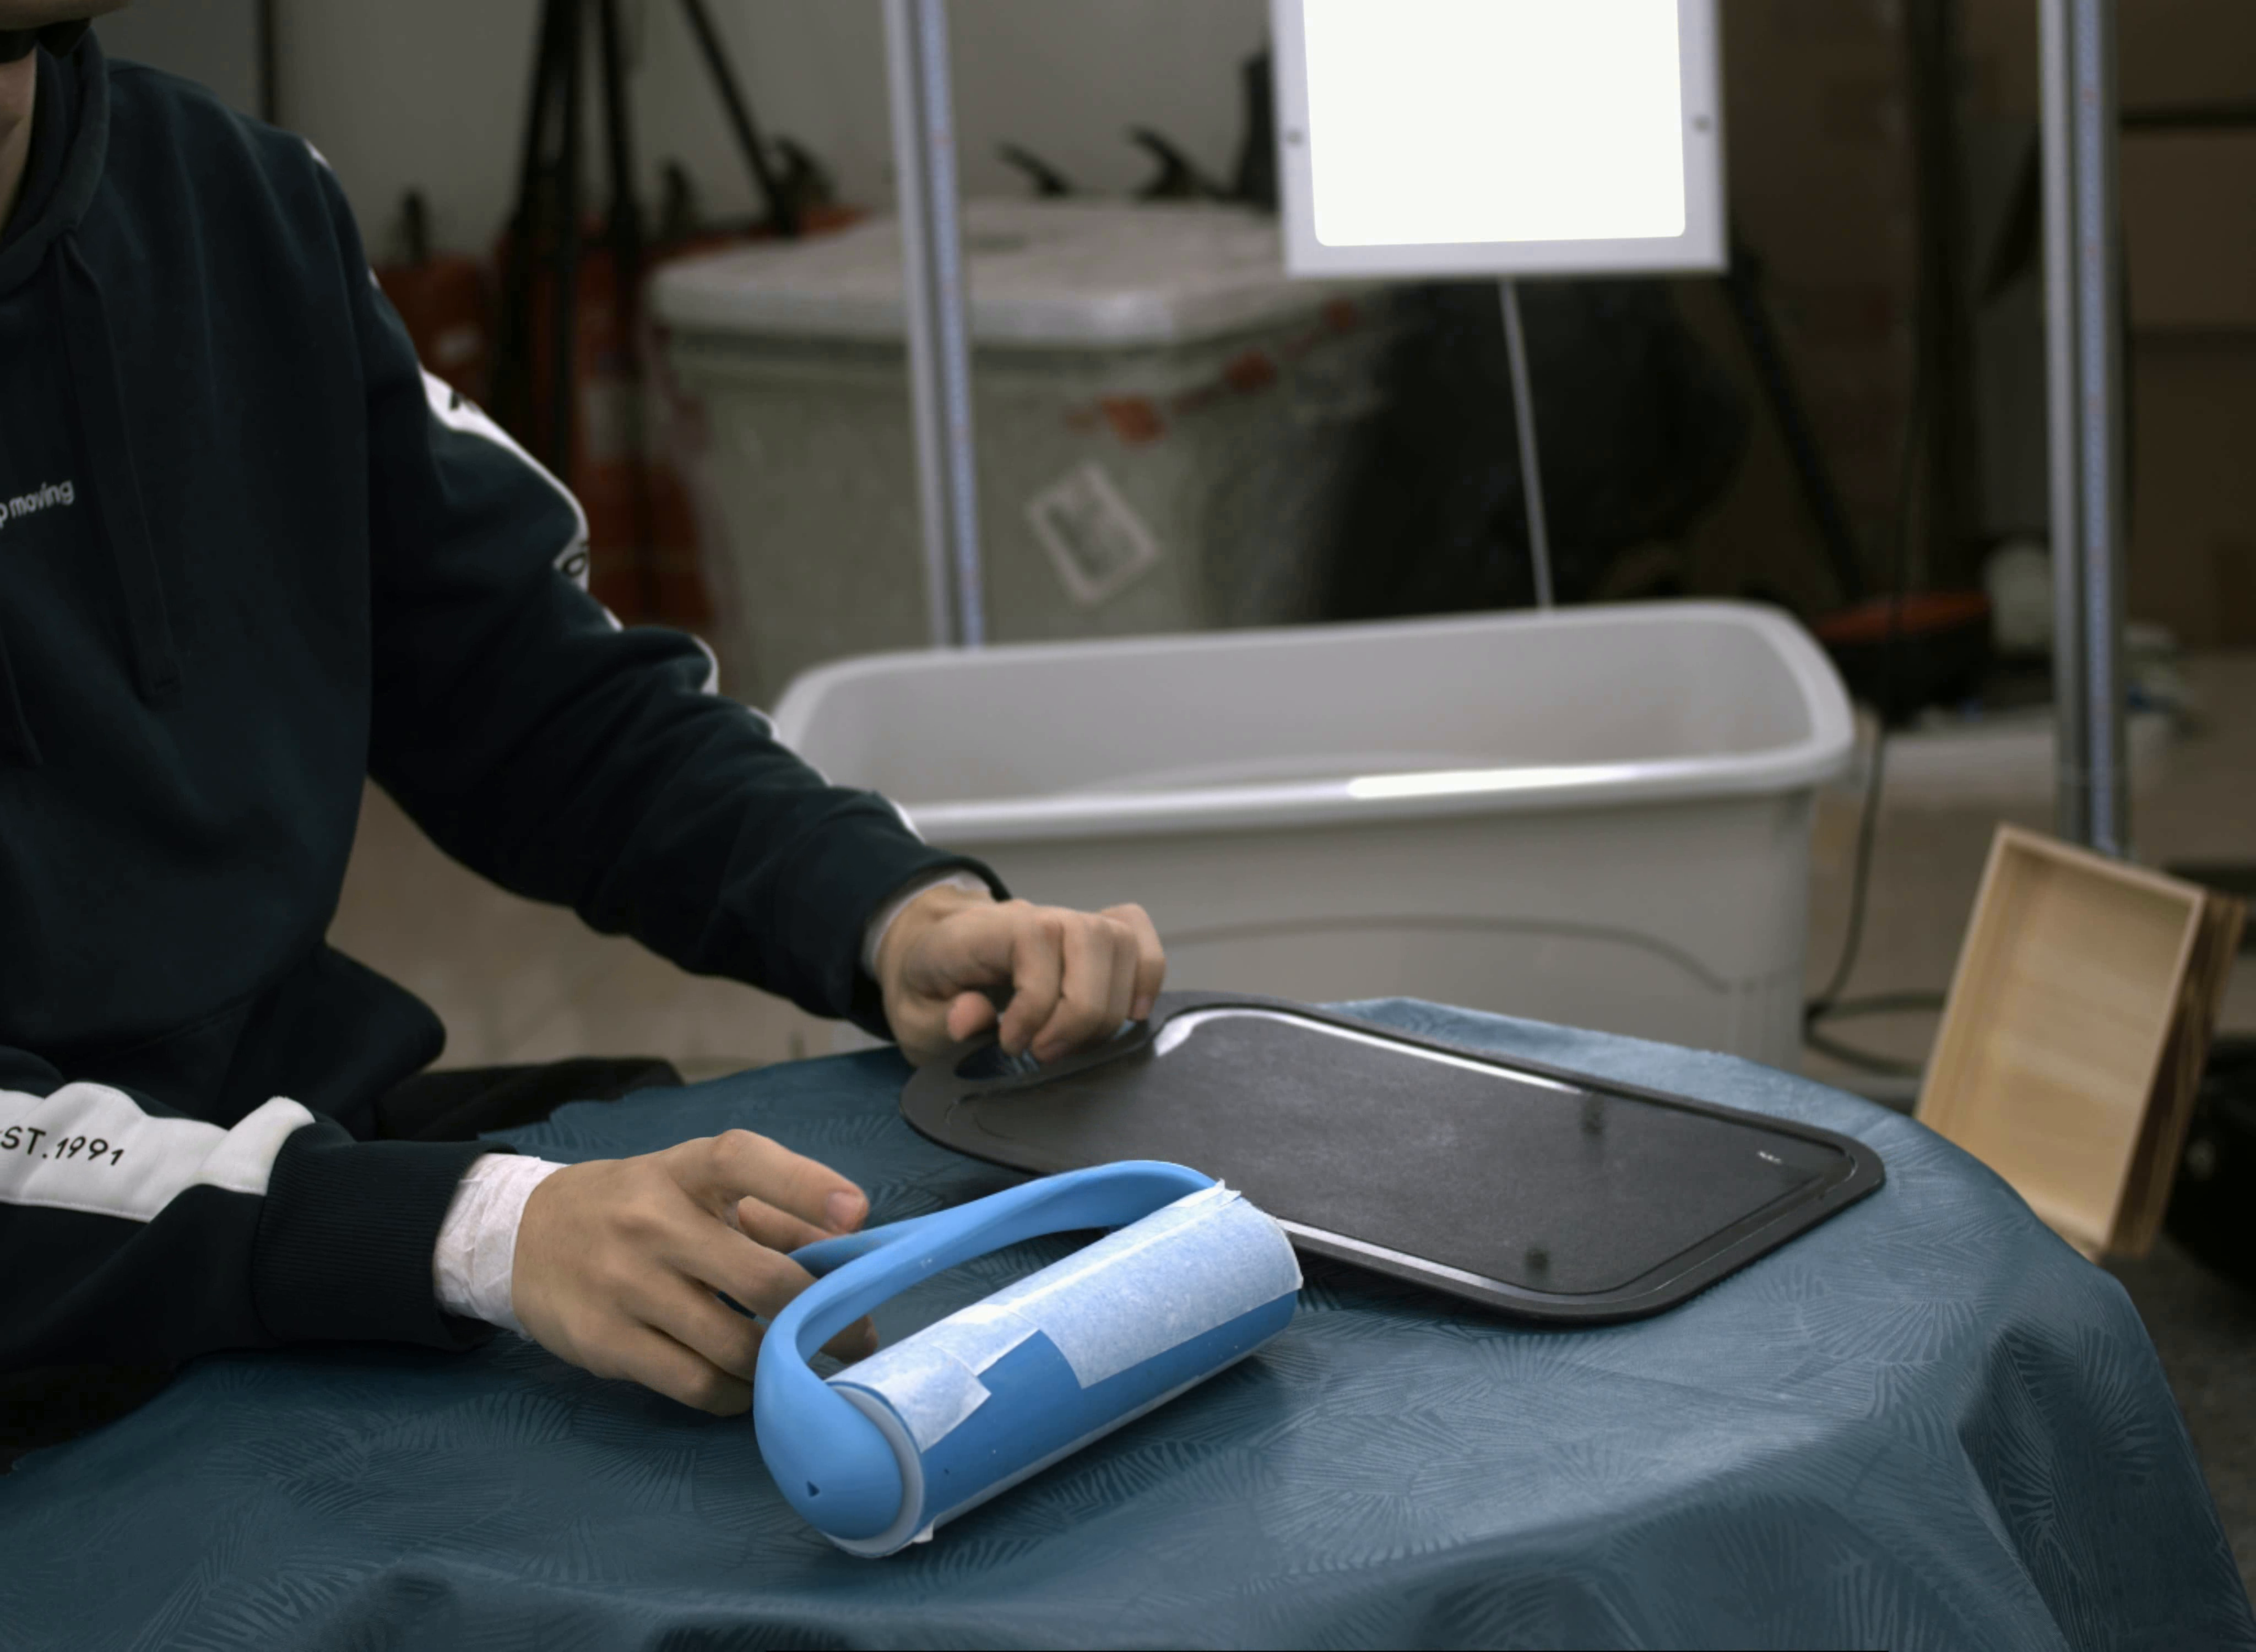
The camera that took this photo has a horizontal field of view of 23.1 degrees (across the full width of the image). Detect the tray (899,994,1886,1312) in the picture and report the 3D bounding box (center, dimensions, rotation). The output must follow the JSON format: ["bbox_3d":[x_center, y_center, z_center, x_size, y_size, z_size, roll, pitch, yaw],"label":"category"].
[{"bbox_3d":[0.081,0.105,1.871,0.332,0.010,0.206,13,21,37],"label":"tray"}]

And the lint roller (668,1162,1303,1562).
[{"bbox_3d":[-0.071,0.155,1.683,0.184,0.068,0.223,6,20,34],"label":"lint roller"}]
